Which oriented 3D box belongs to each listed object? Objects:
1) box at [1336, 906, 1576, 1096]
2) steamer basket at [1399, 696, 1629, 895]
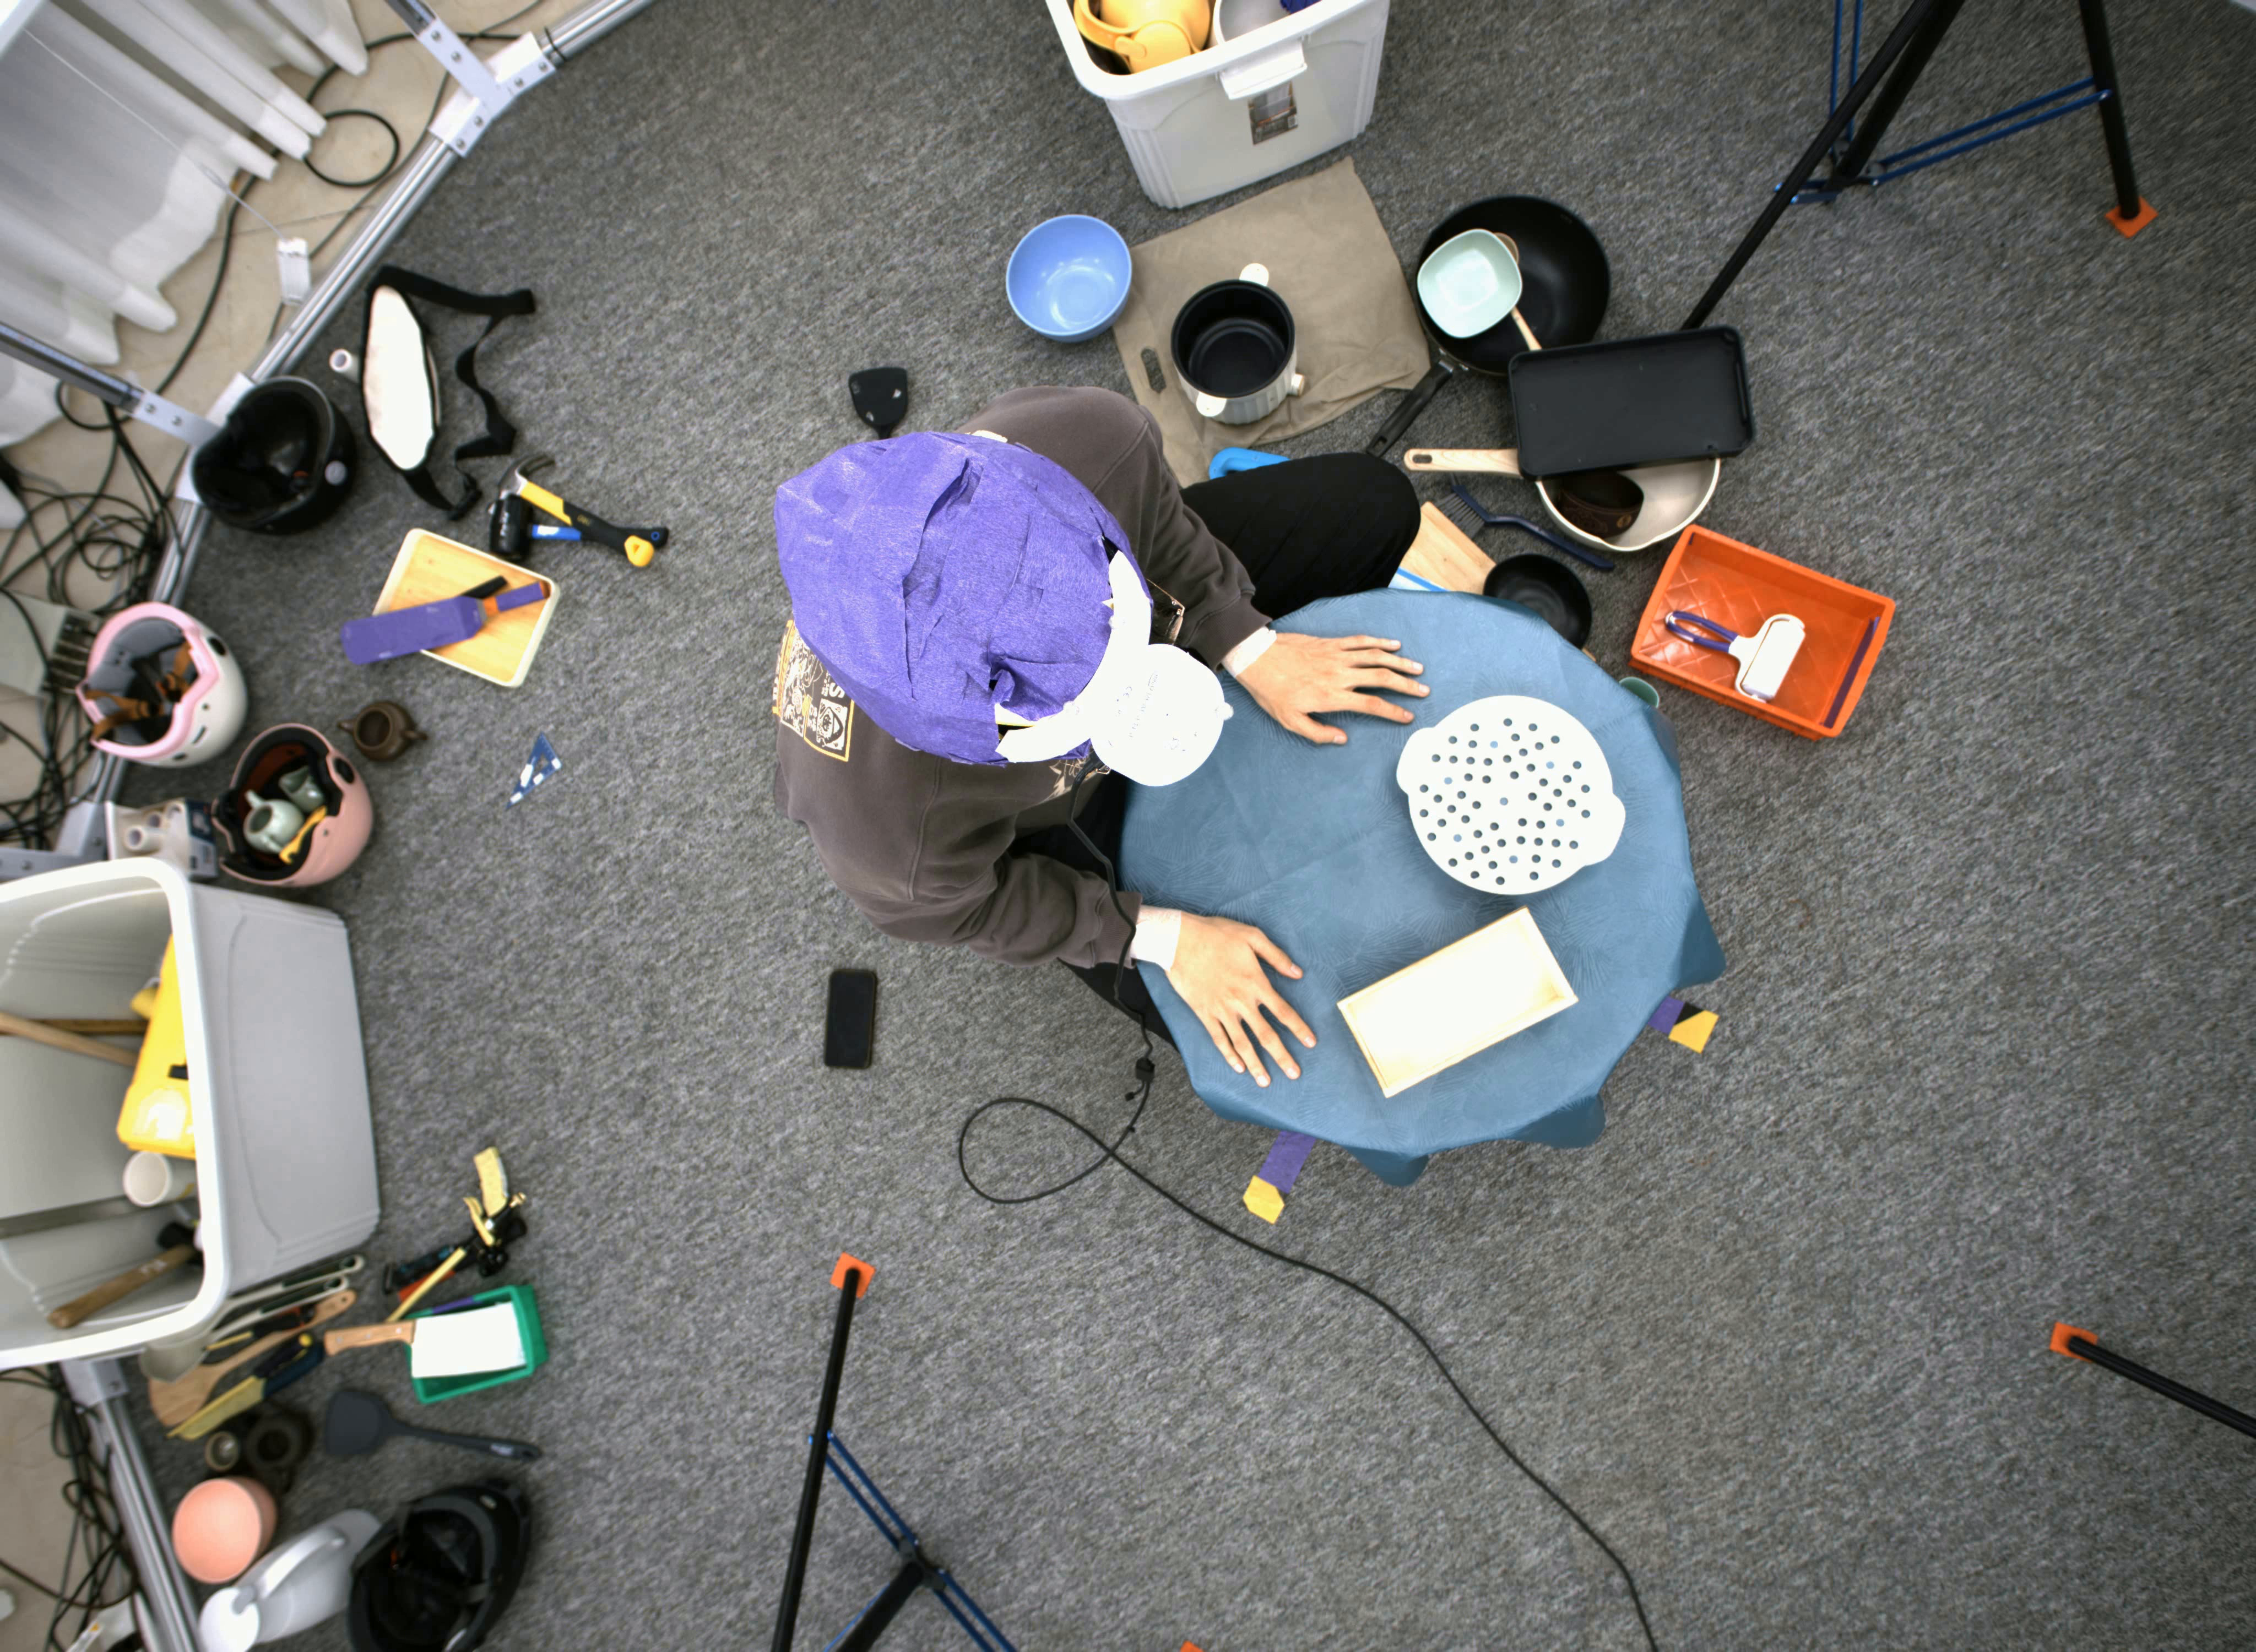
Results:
[{"bbox_3d":[0.330,0.175,1.401,0.212,0.080,0.107,-29,81,8],"label":"box"},{"bbox_3d":[0.392,-0.031,1.405,0.230,0.069,0.202,22,91,12],"label":"steamer basket"}]
